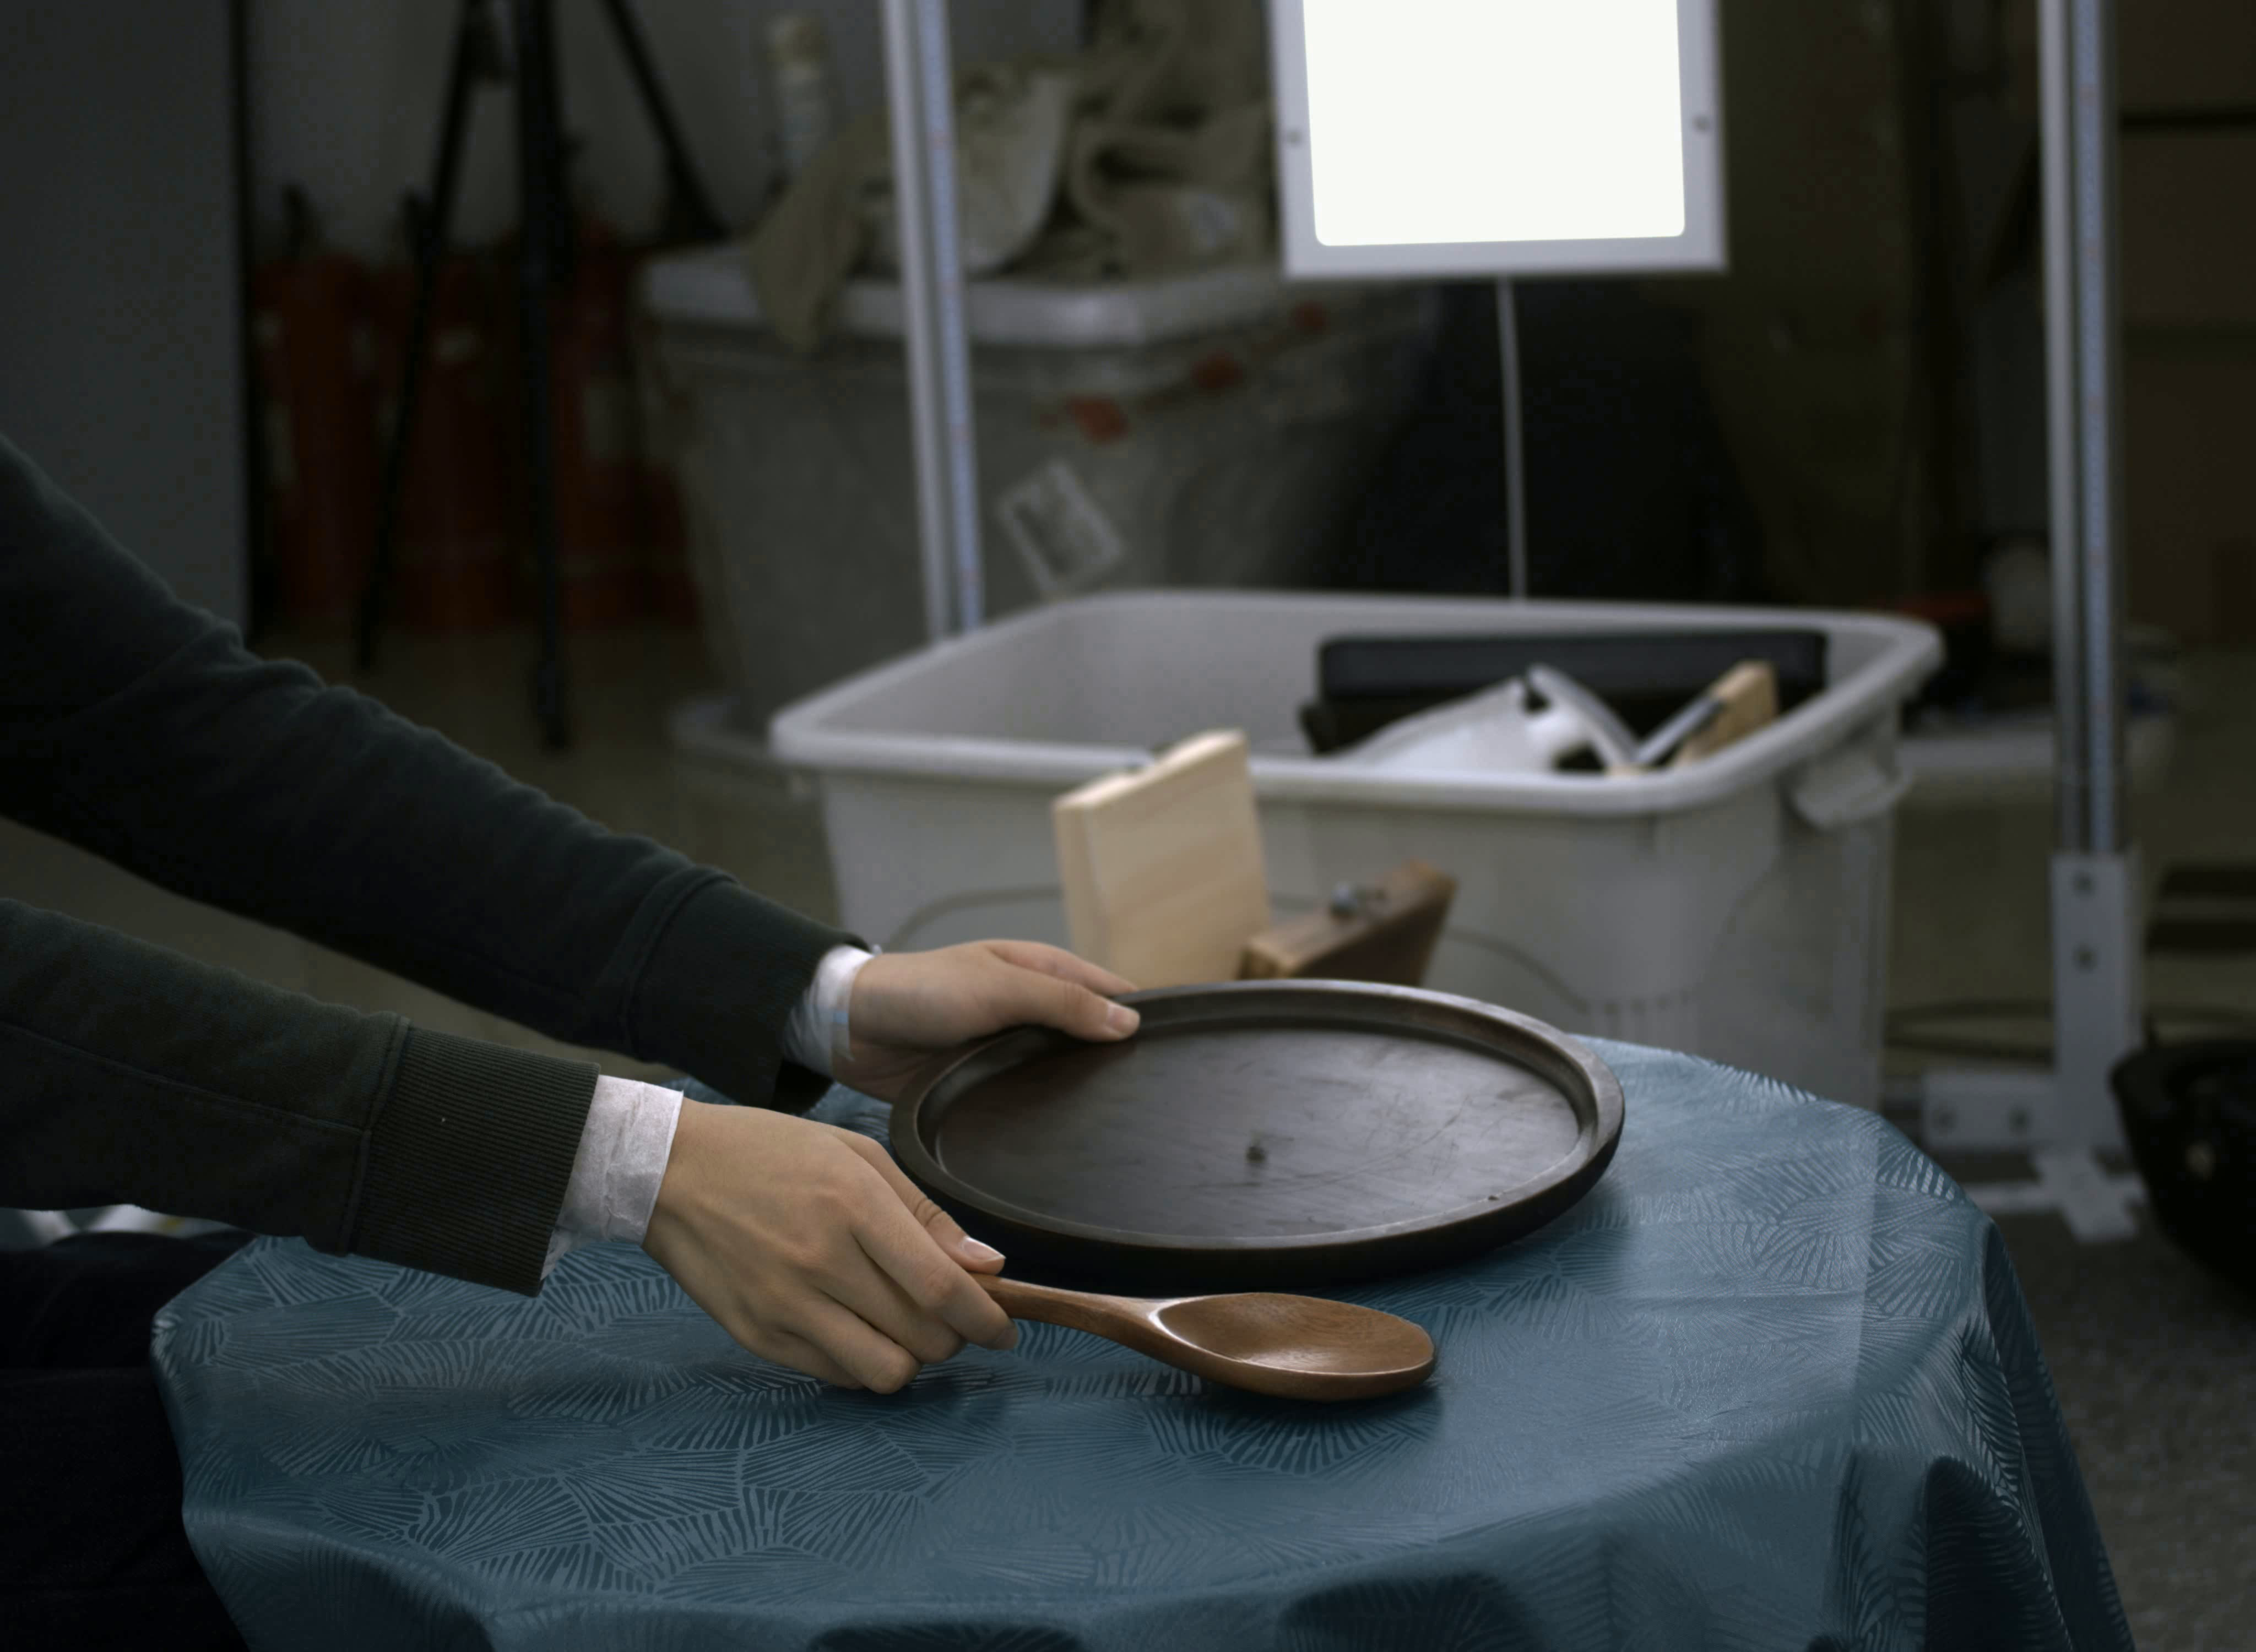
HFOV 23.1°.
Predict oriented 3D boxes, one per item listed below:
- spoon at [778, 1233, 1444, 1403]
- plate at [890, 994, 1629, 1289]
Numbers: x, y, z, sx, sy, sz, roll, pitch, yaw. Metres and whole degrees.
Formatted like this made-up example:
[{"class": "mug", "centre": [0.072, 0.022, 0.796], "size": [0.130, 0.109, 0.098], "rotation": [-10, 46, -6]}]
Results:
[{"class": "spoon", "centre": [-0.007, 0.152, 1.710], "size": [0.218, 0.017, 0.074], "rotation": [9, 15, 18]}, {"class": "plate", "centre": [0.045, 0.105, 1.882], "size": [0.254, 0.029, 0.254], "rotation": [-2, 17, -1]}]
